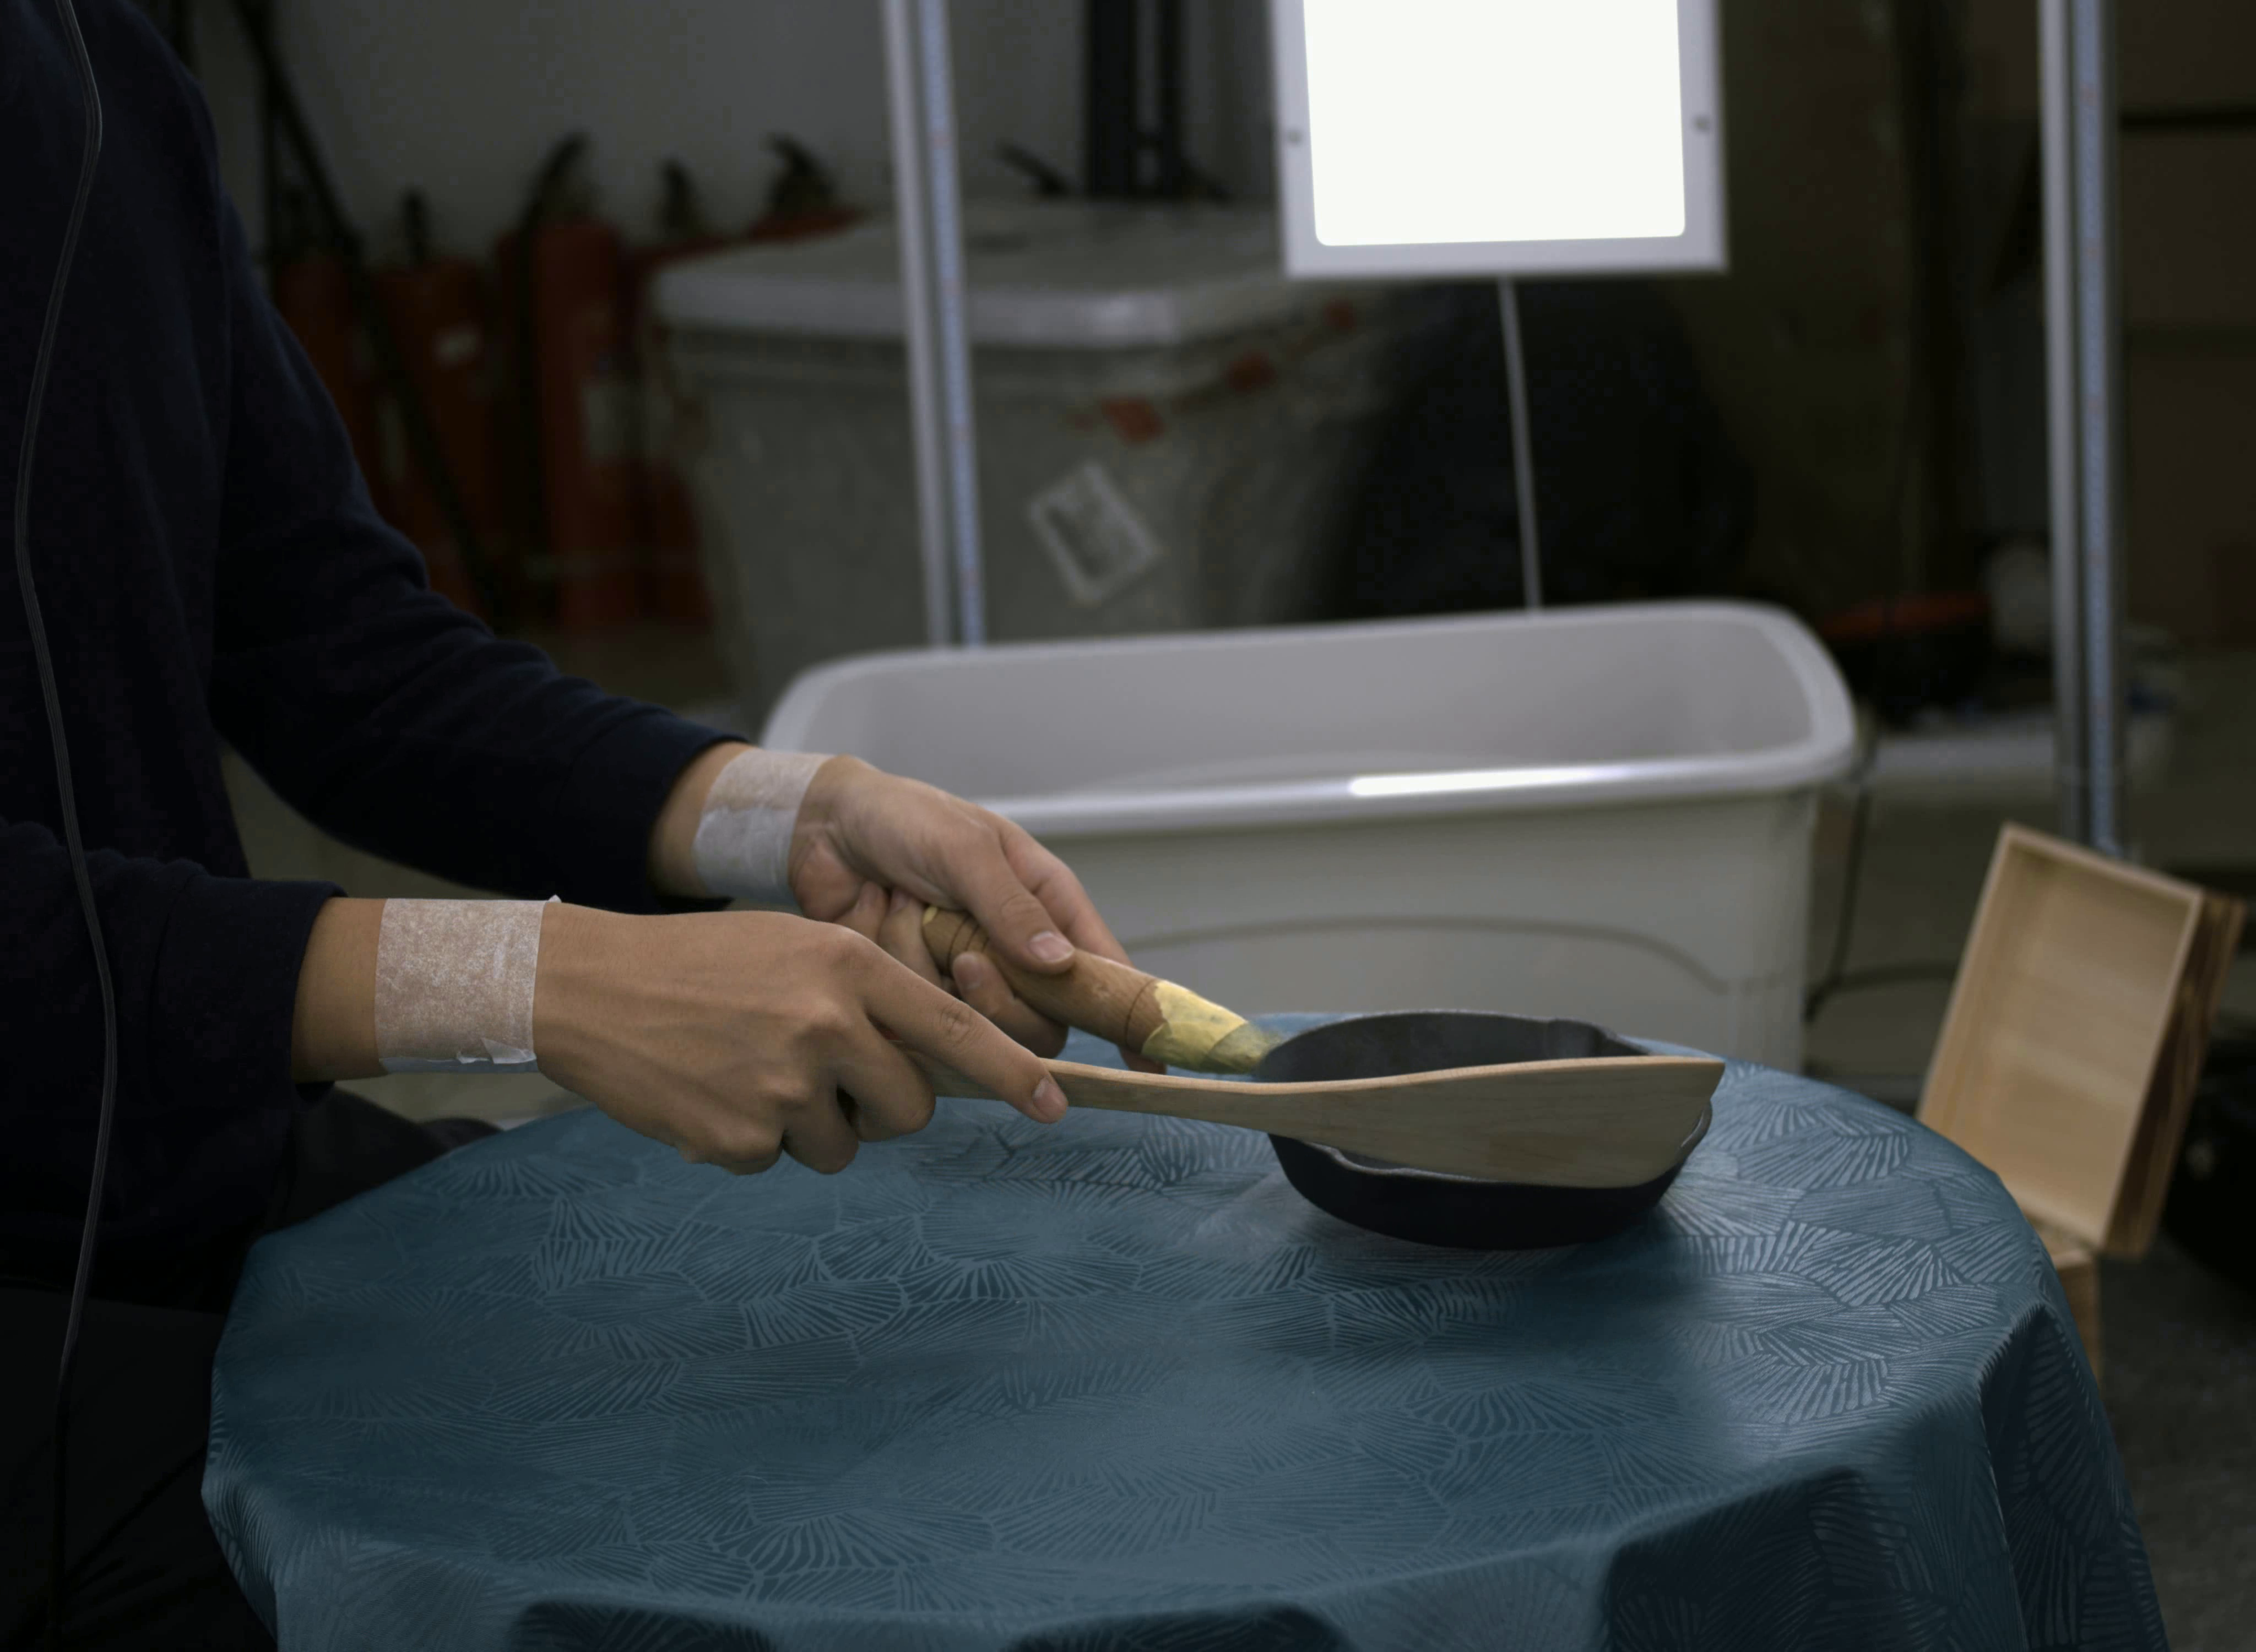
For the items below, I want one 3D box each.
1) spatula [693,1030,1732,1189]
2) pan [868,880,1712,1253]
[{"bbox_3d":[0.025,0.084,1.744,0.327,0.080,0.016,5,57,3],"label":"spatula"},{"bbox_3d":[0.047,0.078,1.888,0.330,0.050,0.165,15,23,32],"label":"pan"}]
